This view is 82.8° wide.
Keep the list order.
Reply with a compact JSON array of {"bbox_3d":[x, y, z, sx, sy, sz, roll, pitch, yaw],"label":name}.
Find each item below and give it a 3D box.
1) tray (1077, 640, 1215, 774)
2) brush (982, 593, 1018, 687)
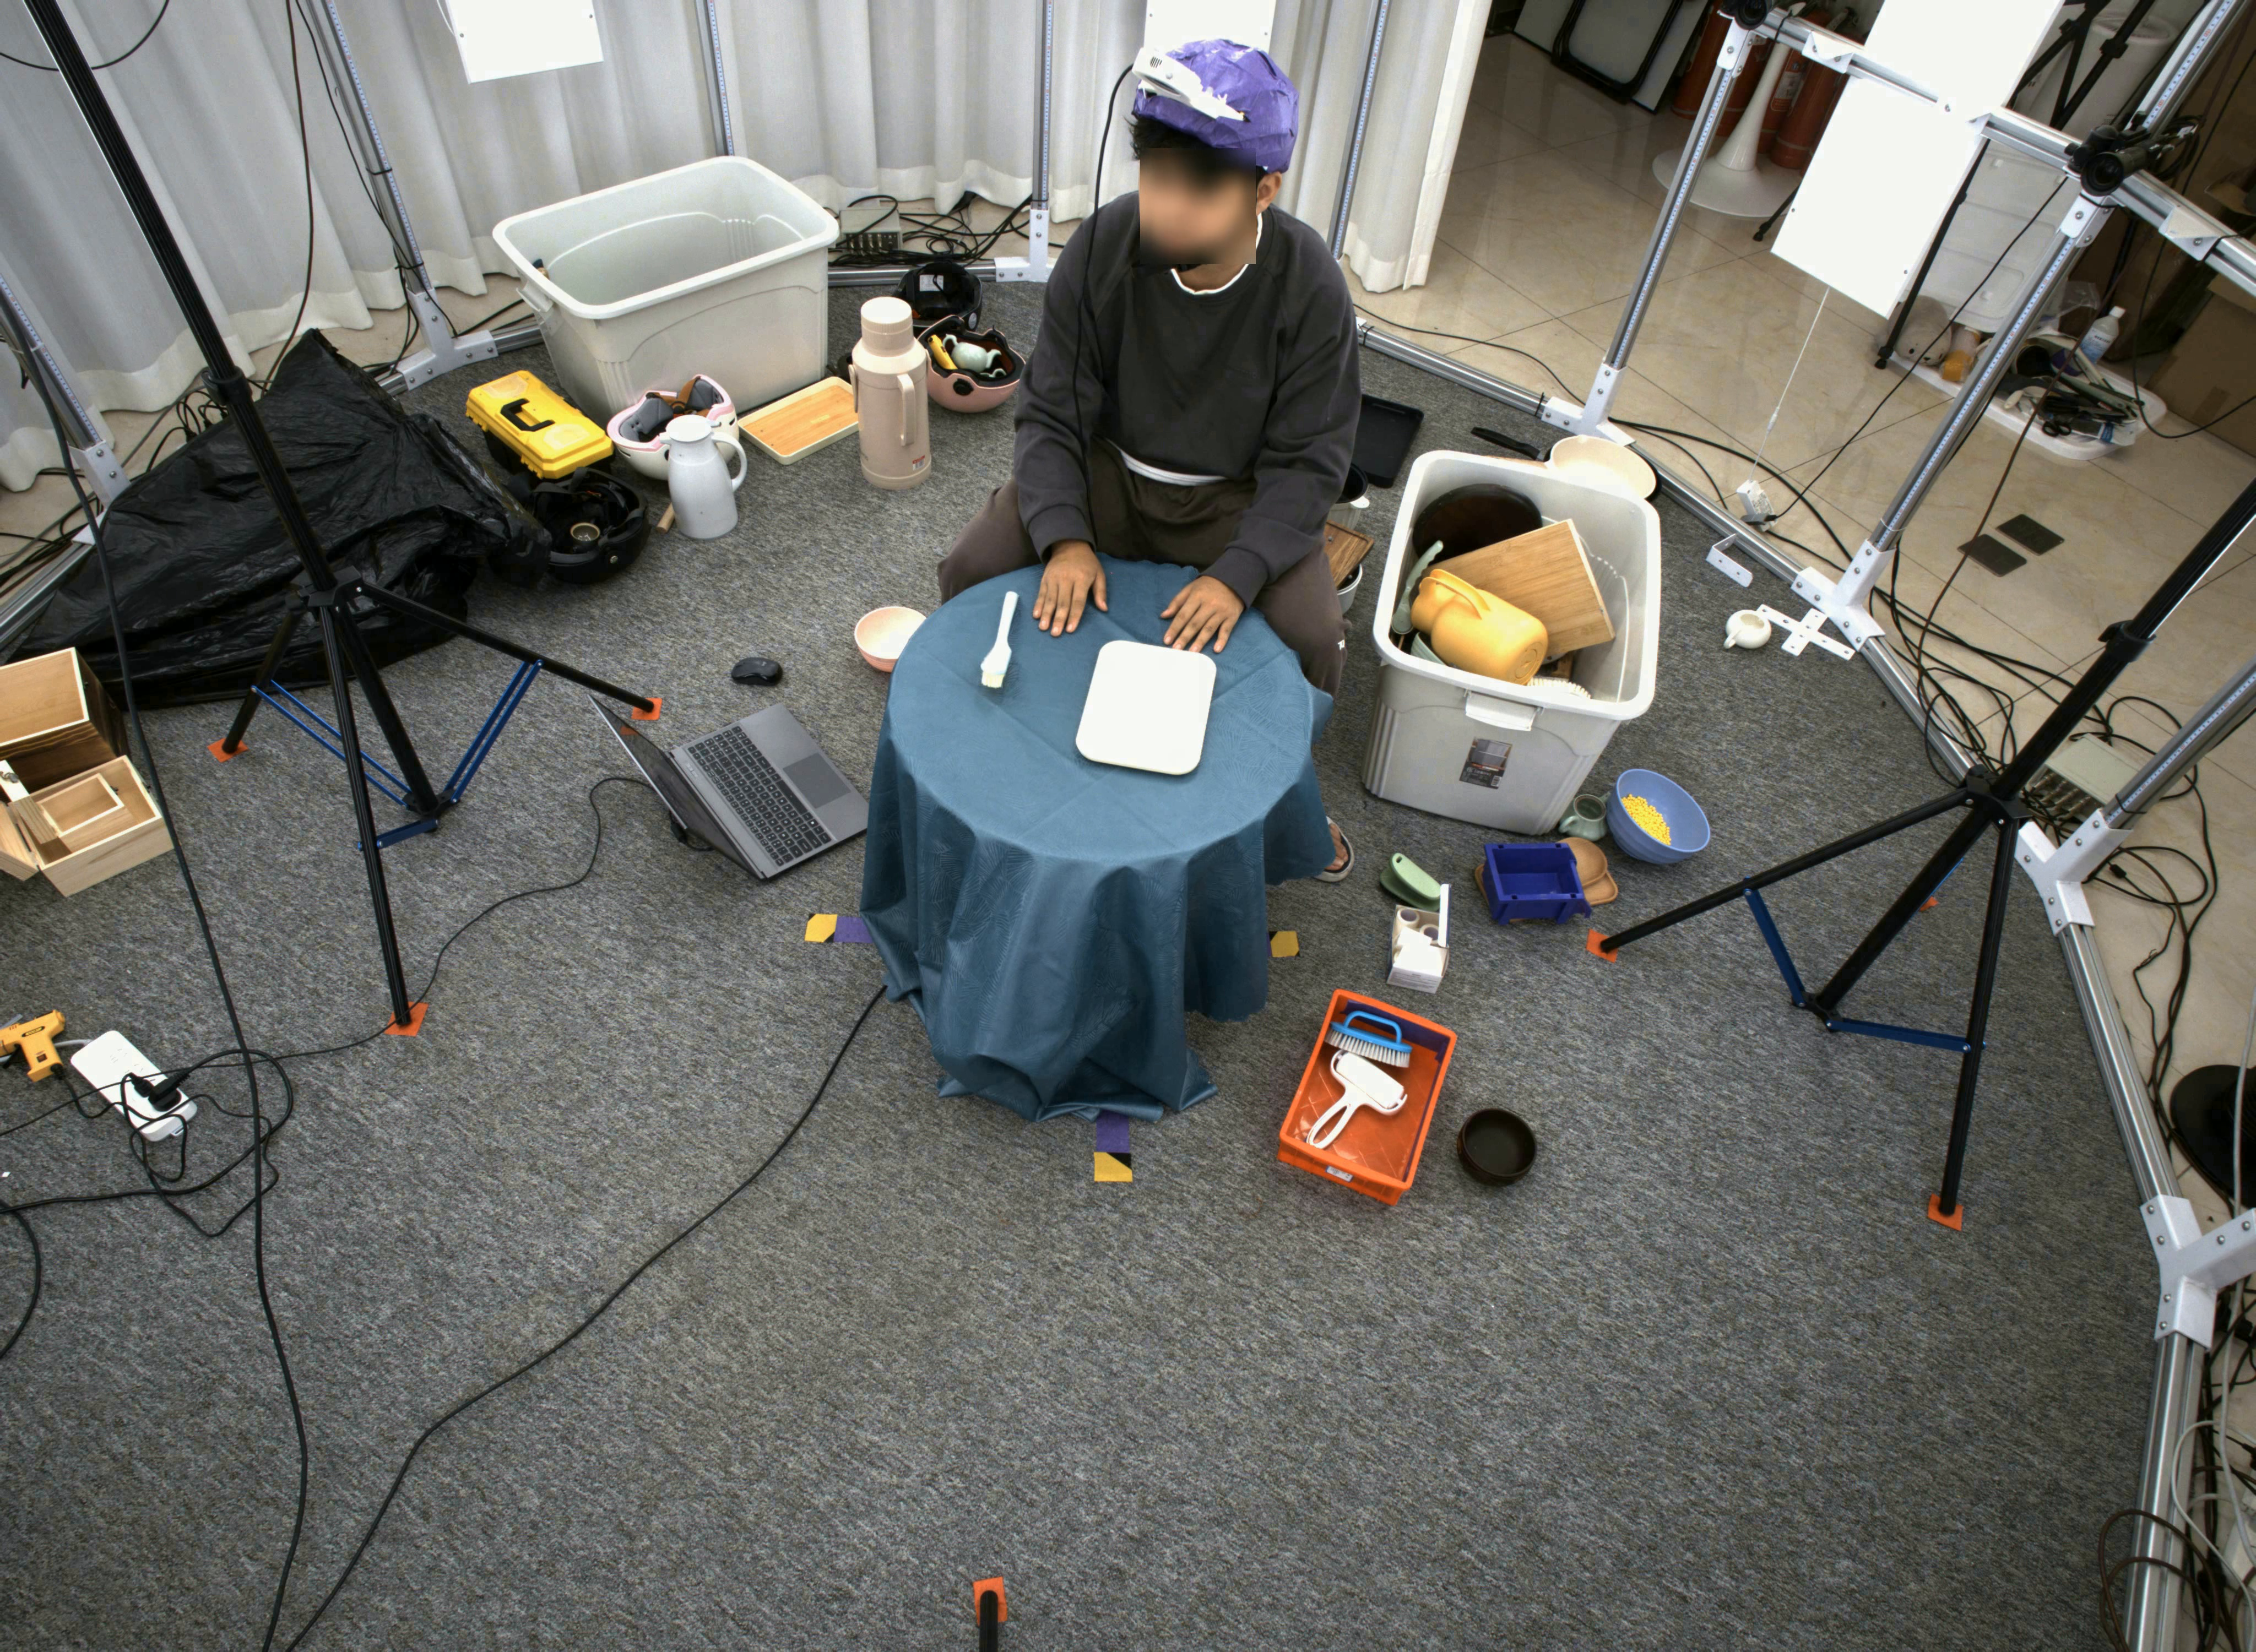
[{"bbox_3d":[0.028,-0.168,1.801,0.171,0.017,0.245,10,49,3],"label":"tray"},{"bbox_3d":[-0.182,-0.274,1.869,0.038,0.048,0.234,9,40,-5],"label":"brush"}]
